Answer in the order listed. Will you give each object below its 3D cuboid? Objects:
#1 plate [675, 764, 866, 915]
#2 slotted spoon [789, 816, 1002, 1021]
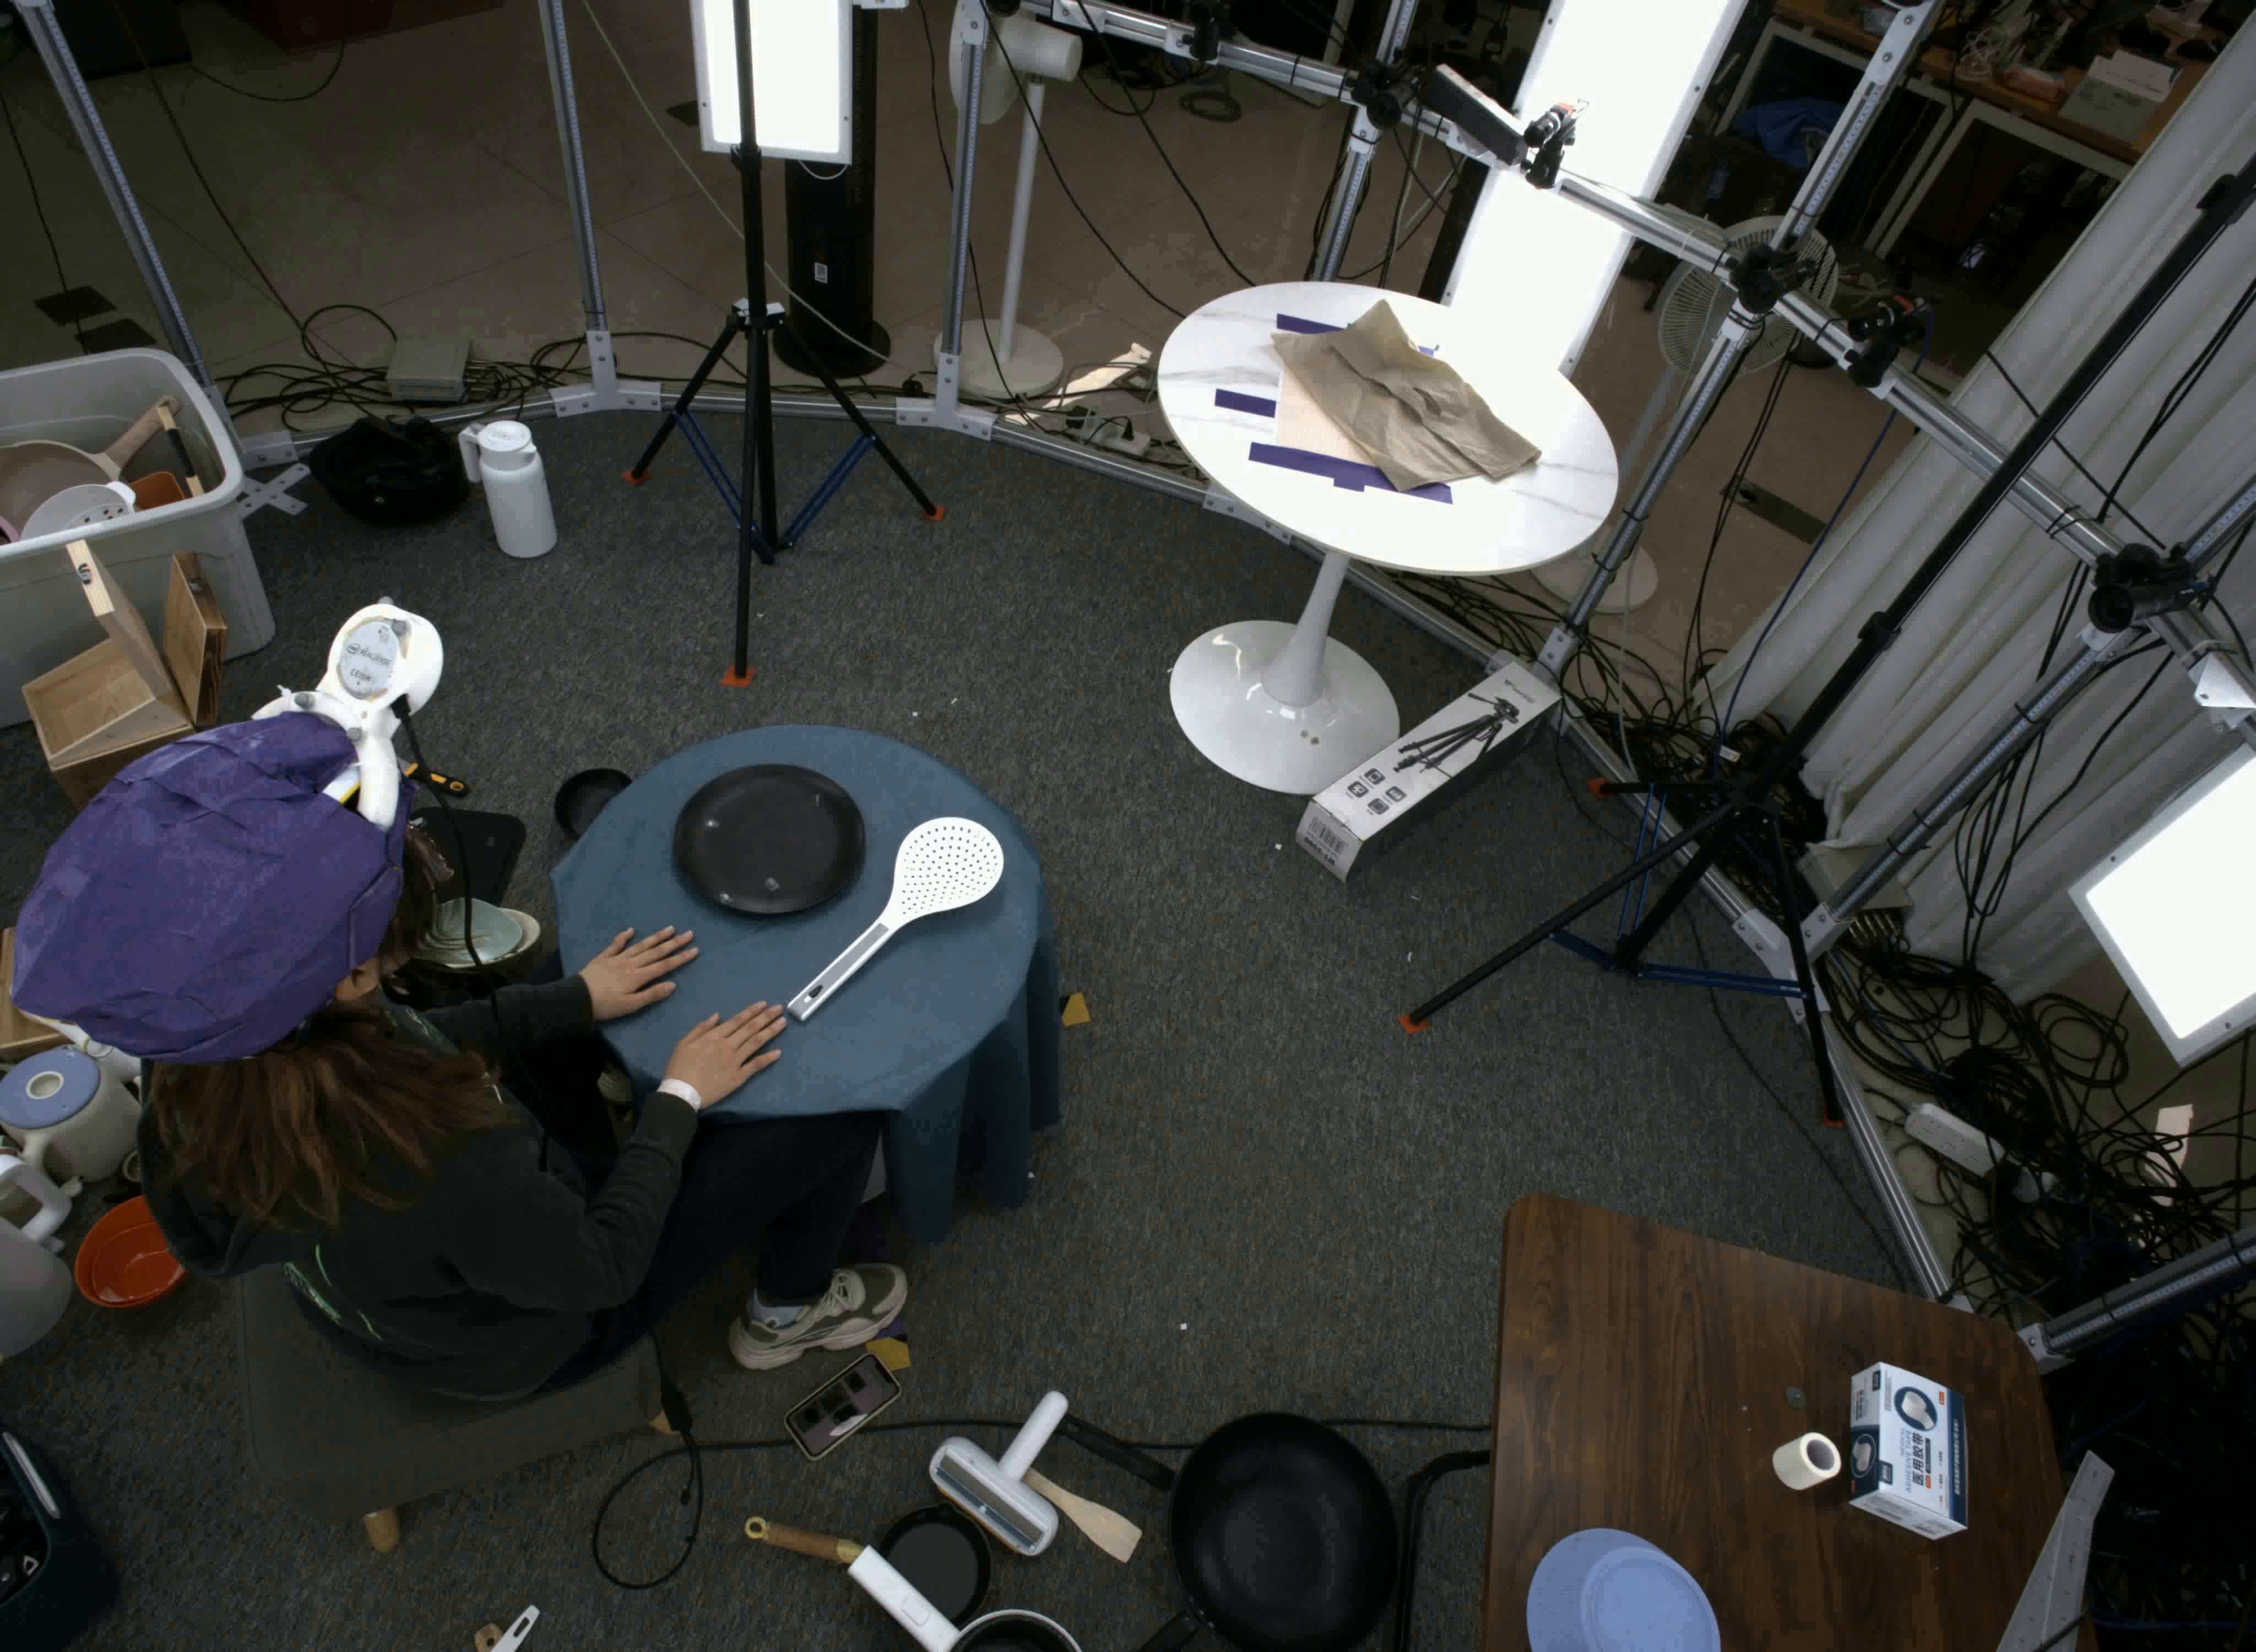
[{"bbox_3d":[-0.466,0.018,1.690,0.244,0.024,0.240,8,52,-9],"label":"plate"},{"bbox_3d":[-0.296,0.115,1.647,0.133,0.047,0.349,34,54,15],"label":"slotted spoon"}]
